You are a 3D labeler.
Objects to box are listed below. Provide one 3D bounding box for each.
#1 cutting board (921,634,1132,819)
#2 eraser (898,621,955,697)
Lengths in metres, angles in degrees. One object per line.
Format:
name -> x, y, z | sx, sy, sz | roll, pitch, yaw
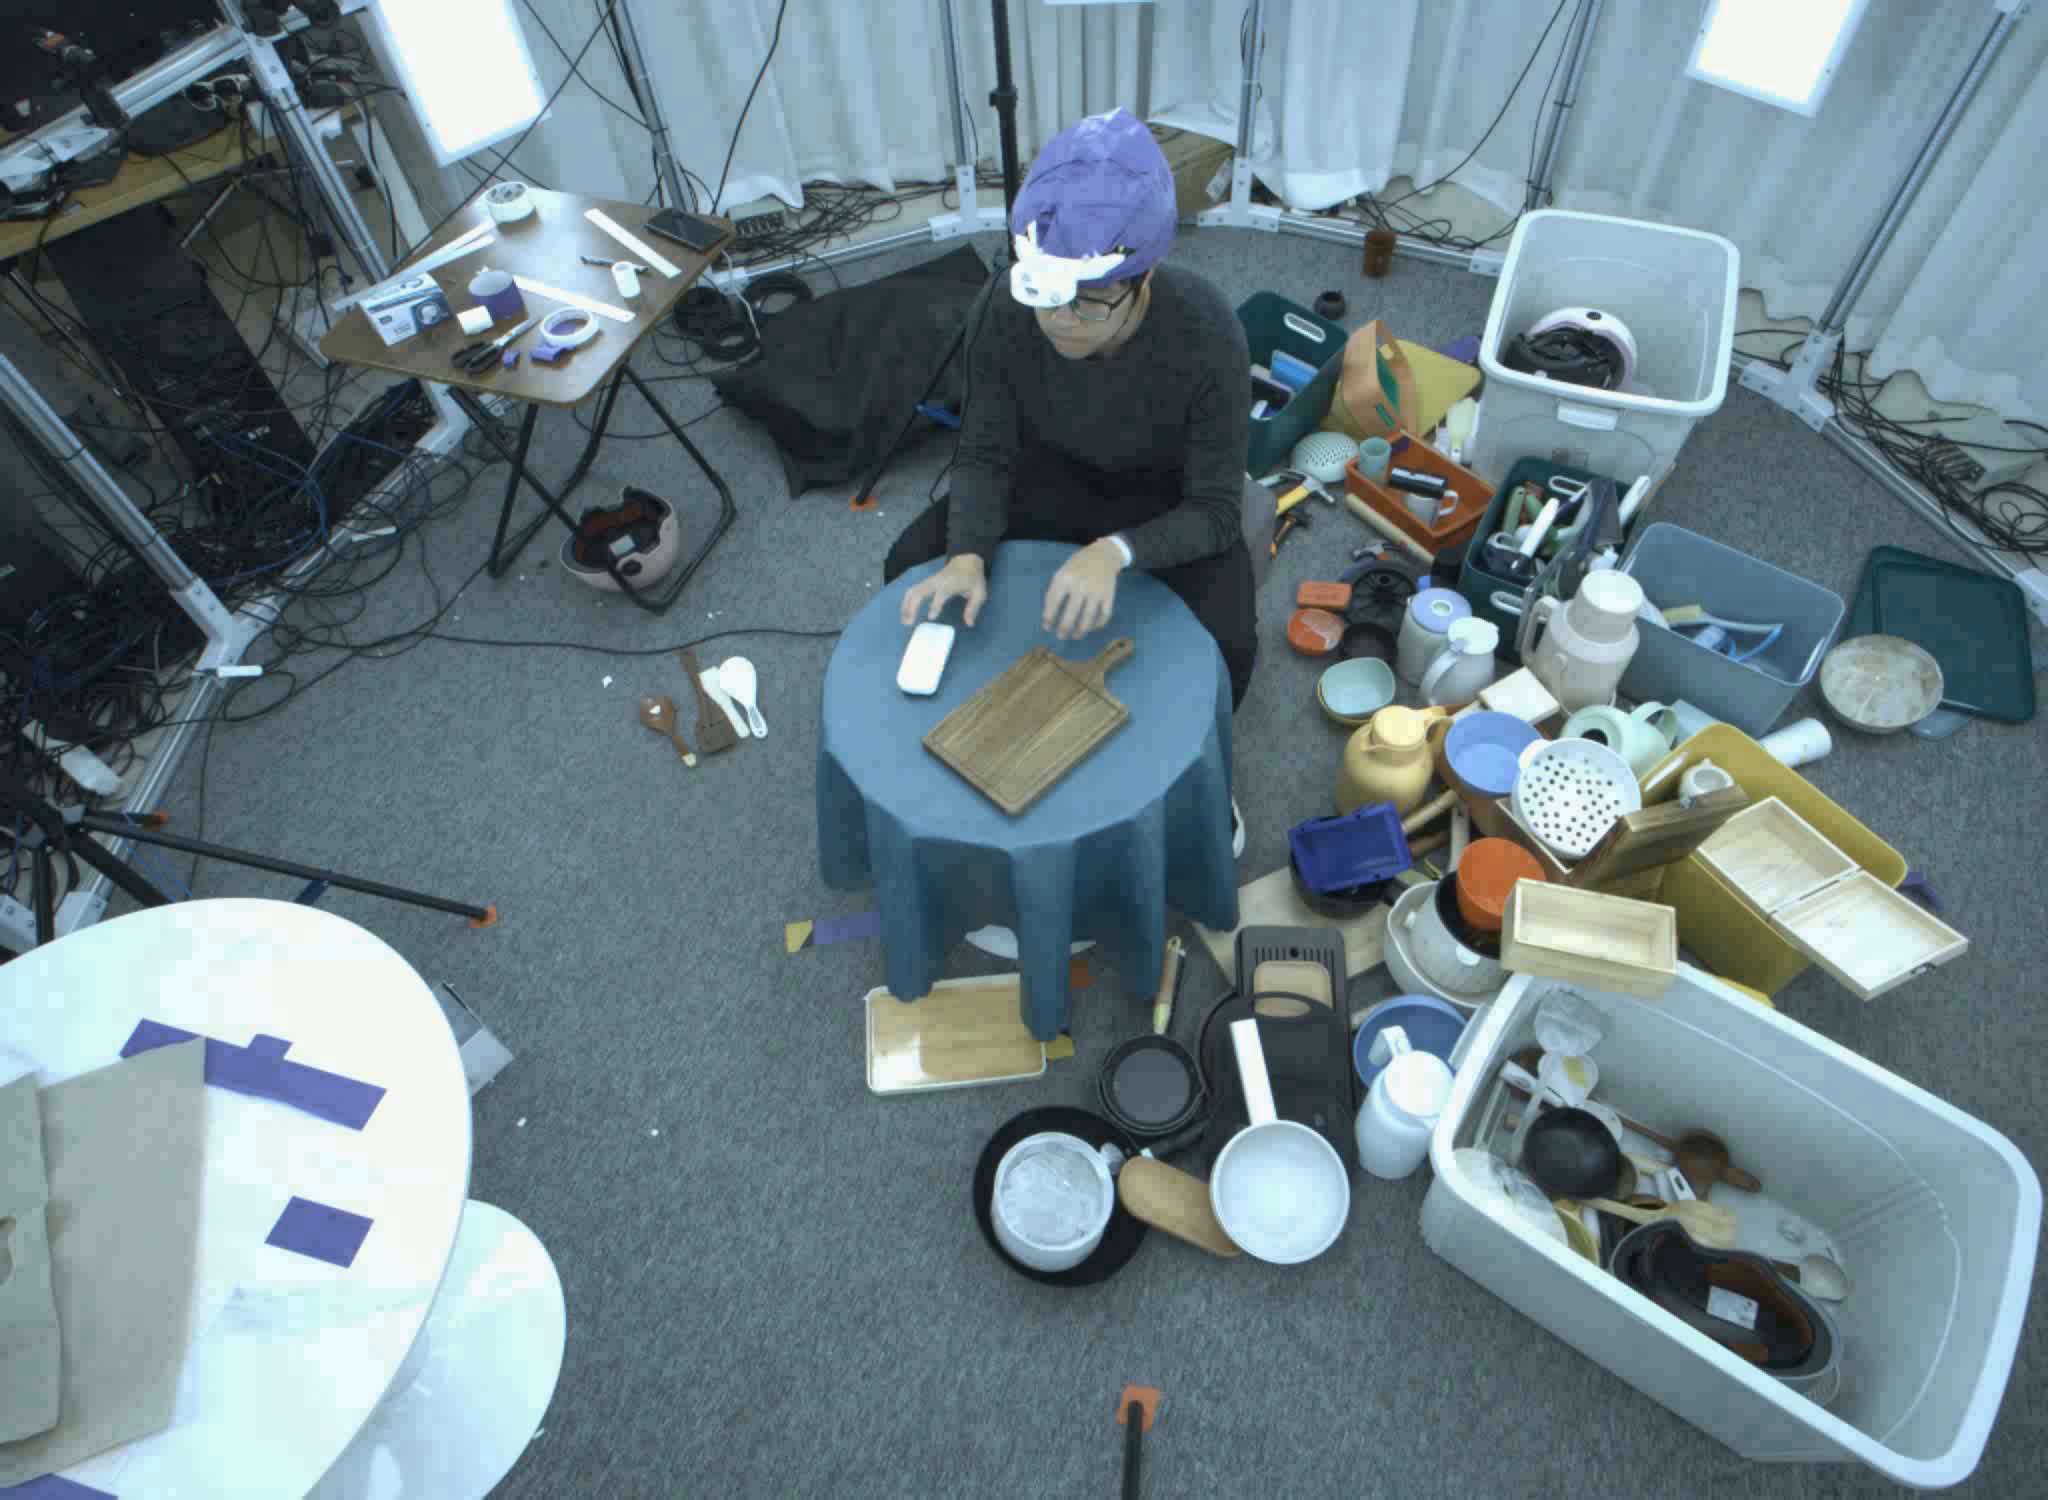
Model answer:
cutting board -> 0.038, -0.062, 1.818 | 0.197, 0.023, 0.354 | 38, 64, 25
eraser -> -0.147, -0.141, 1.874 | 0.063, 0.035, 0.131 | 10, 57, 11
